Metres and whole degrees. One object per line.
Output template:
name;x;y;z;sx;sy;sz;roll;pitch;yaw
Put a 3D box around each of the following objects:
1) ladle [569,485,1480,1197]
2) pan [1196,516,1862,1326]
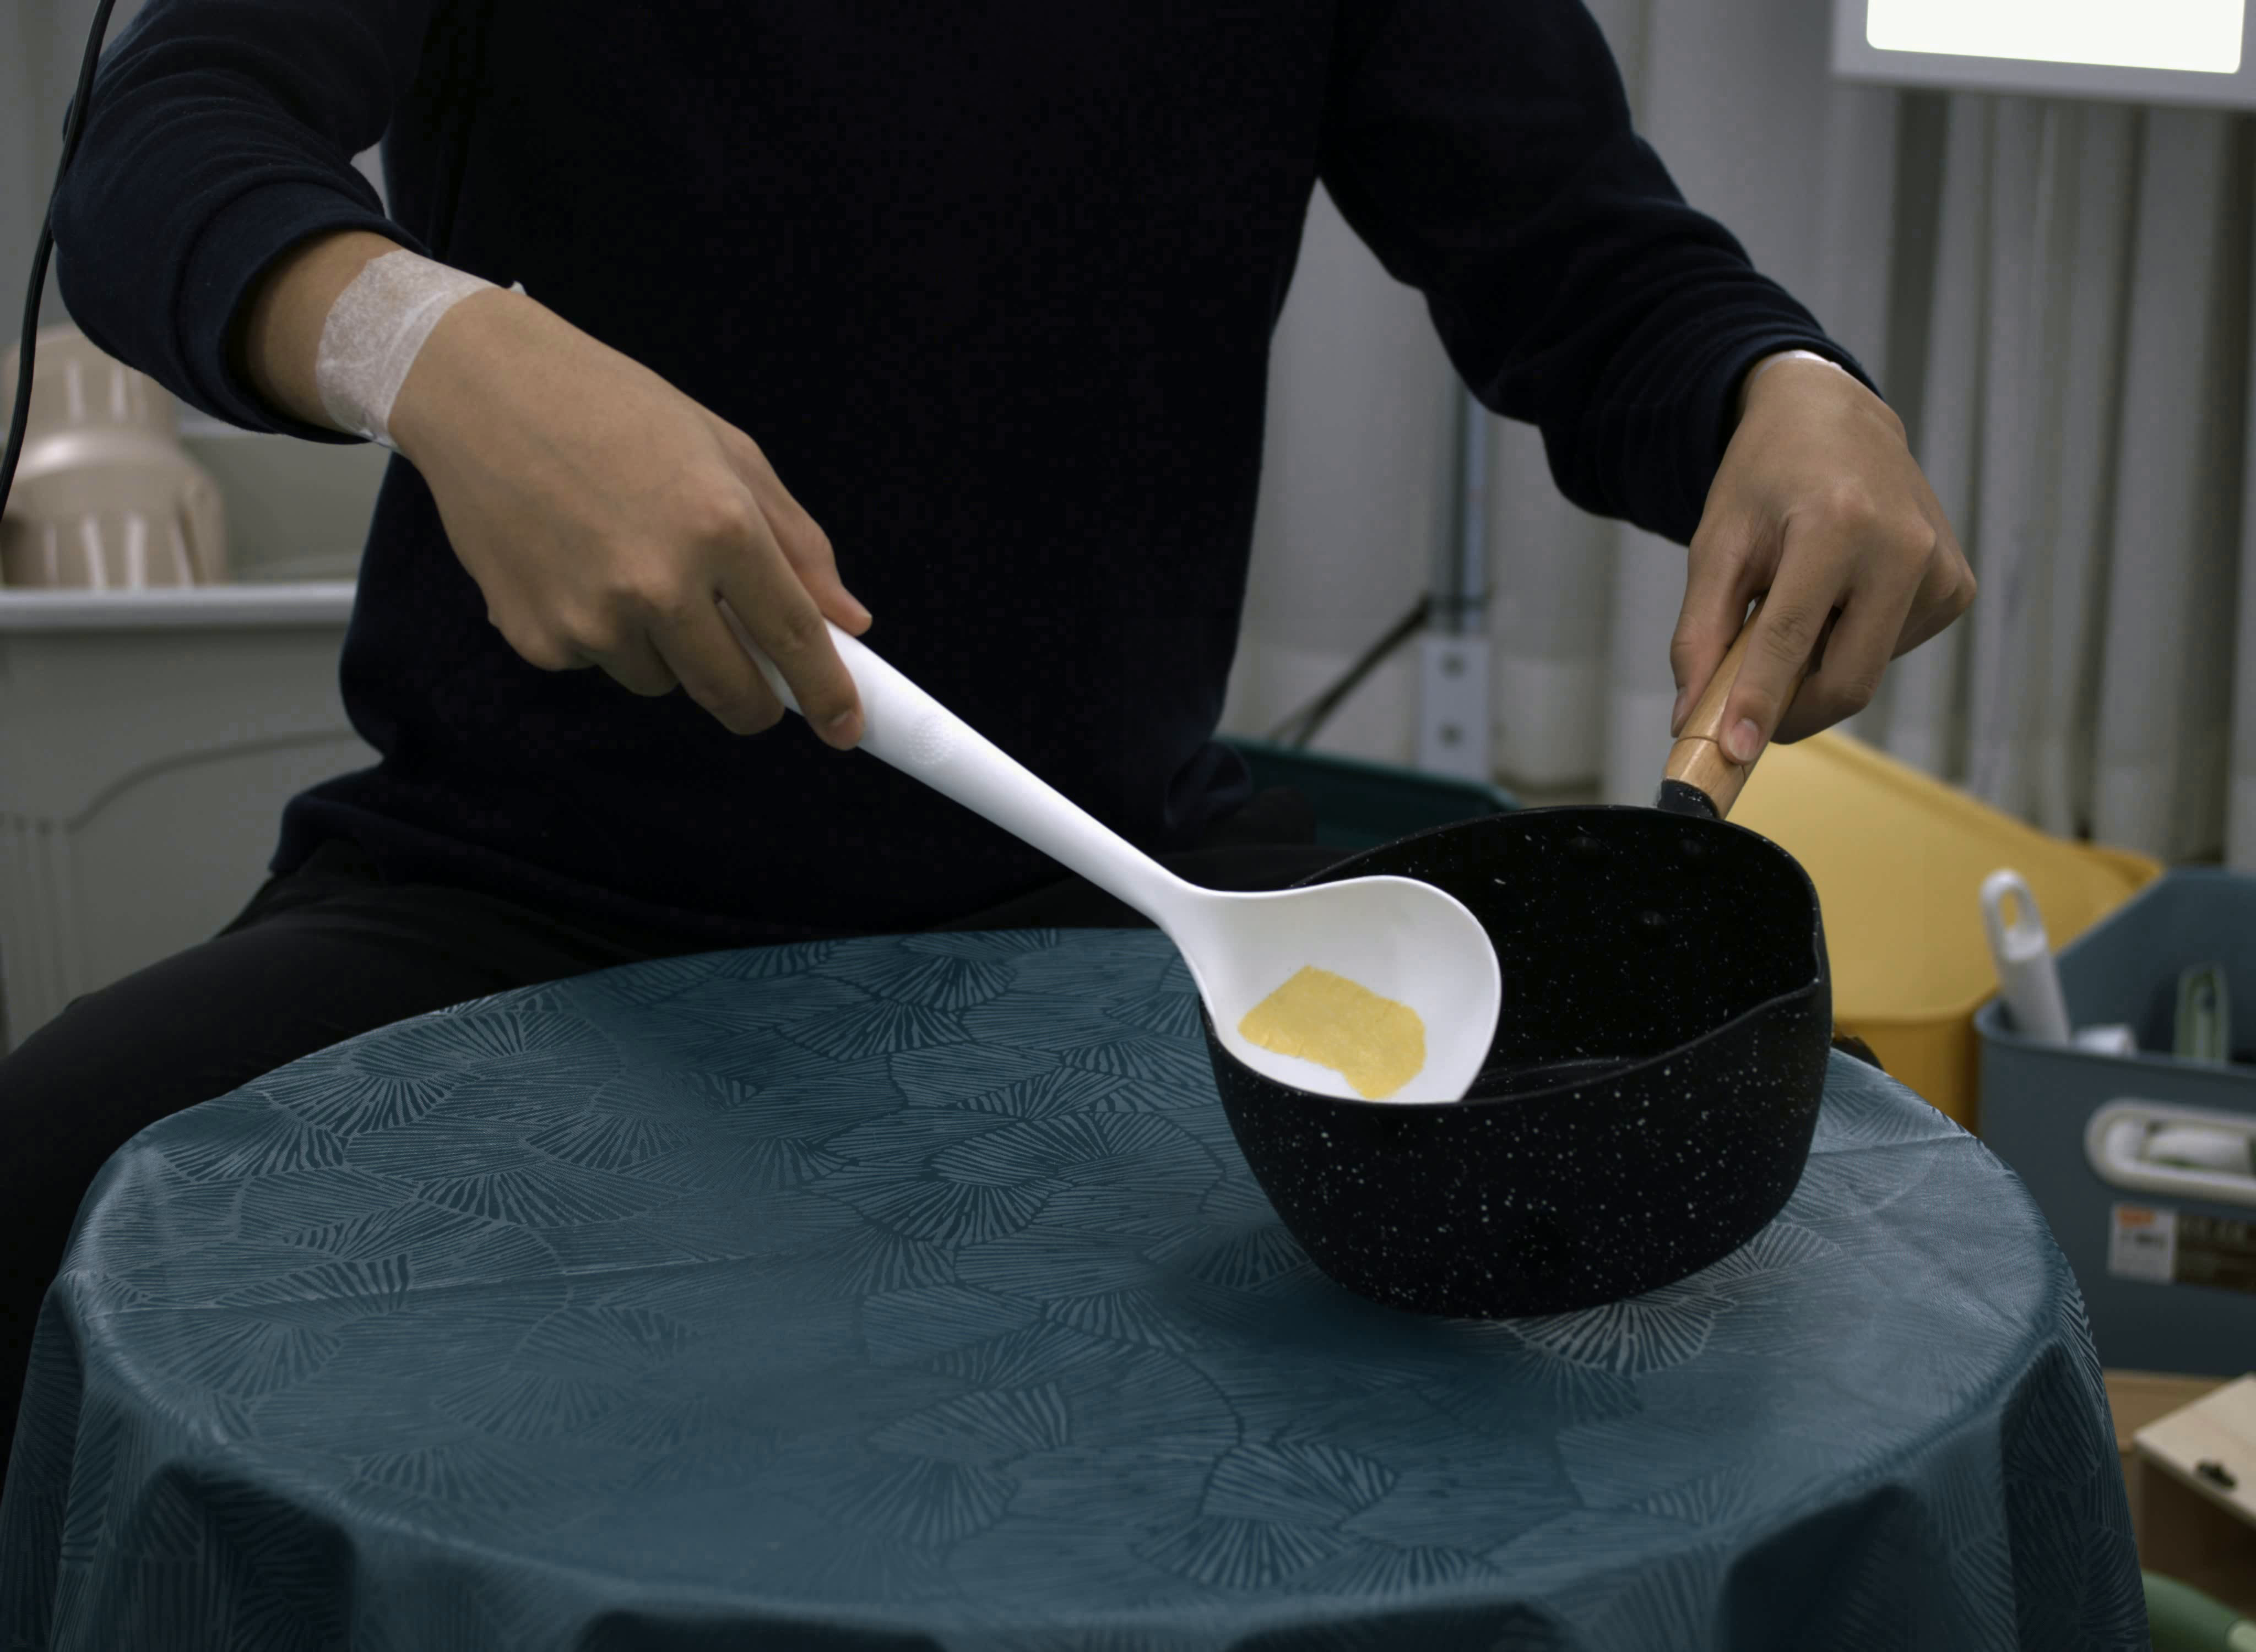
ladle;-0.030;0.000;1.497;0.295;0.090;0.069;35;3;-19
pan;0.153;0.025;1.609;0.205;0.109;0.342;3;30;31
